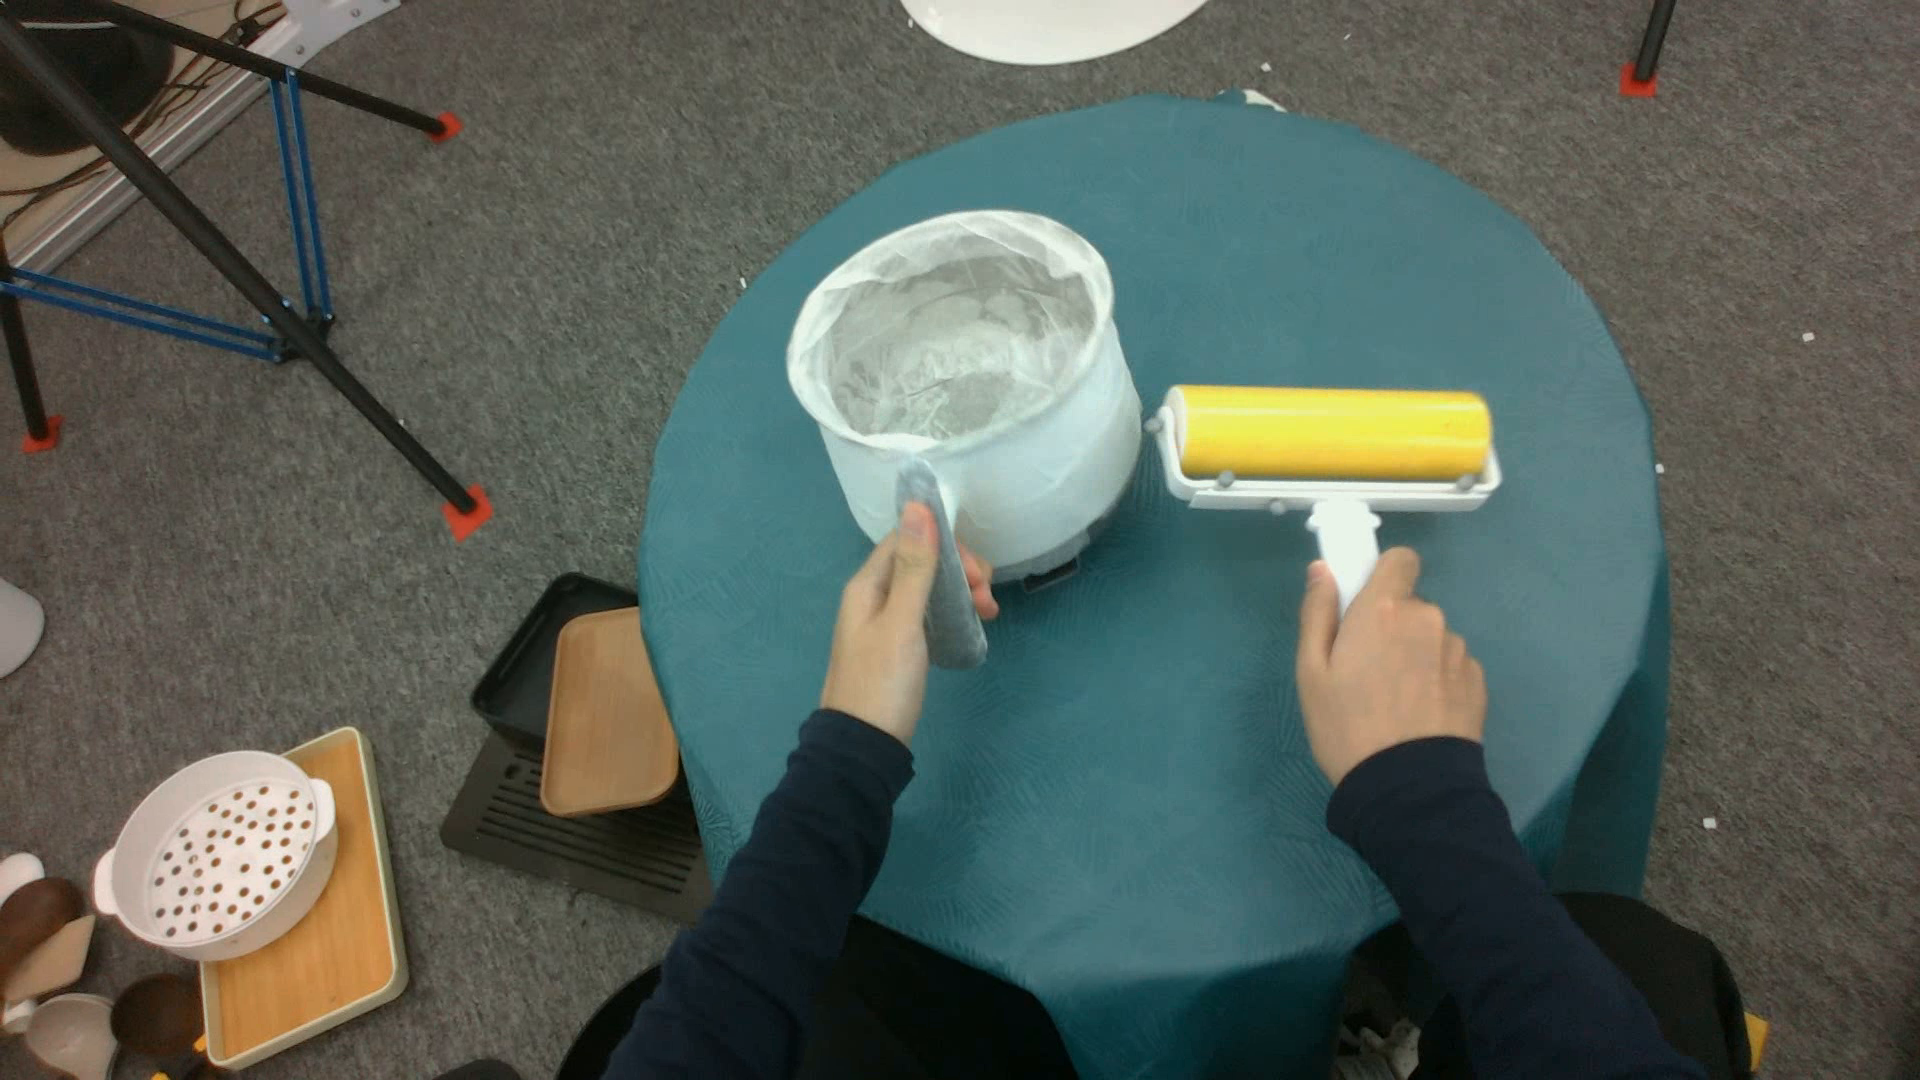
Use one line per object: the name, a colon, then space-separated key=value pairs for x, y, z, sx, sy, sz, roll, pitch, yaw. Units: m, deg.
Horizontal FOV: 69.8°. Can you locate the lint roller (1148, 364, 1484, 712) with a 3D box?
lint roller: x=0.192 y=-0.010 z=0.689 sx=0.174 sy=0.051 sz=0.193 roll=-1 pitch=53 yaw=-6

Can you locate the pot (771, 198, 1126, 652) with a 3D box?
pot: x=-0.004 y=-0.061 z=0.750 sx=0.178 sy=0.136 sz=0.235 roll=-2 pitch=51 yaw=15
